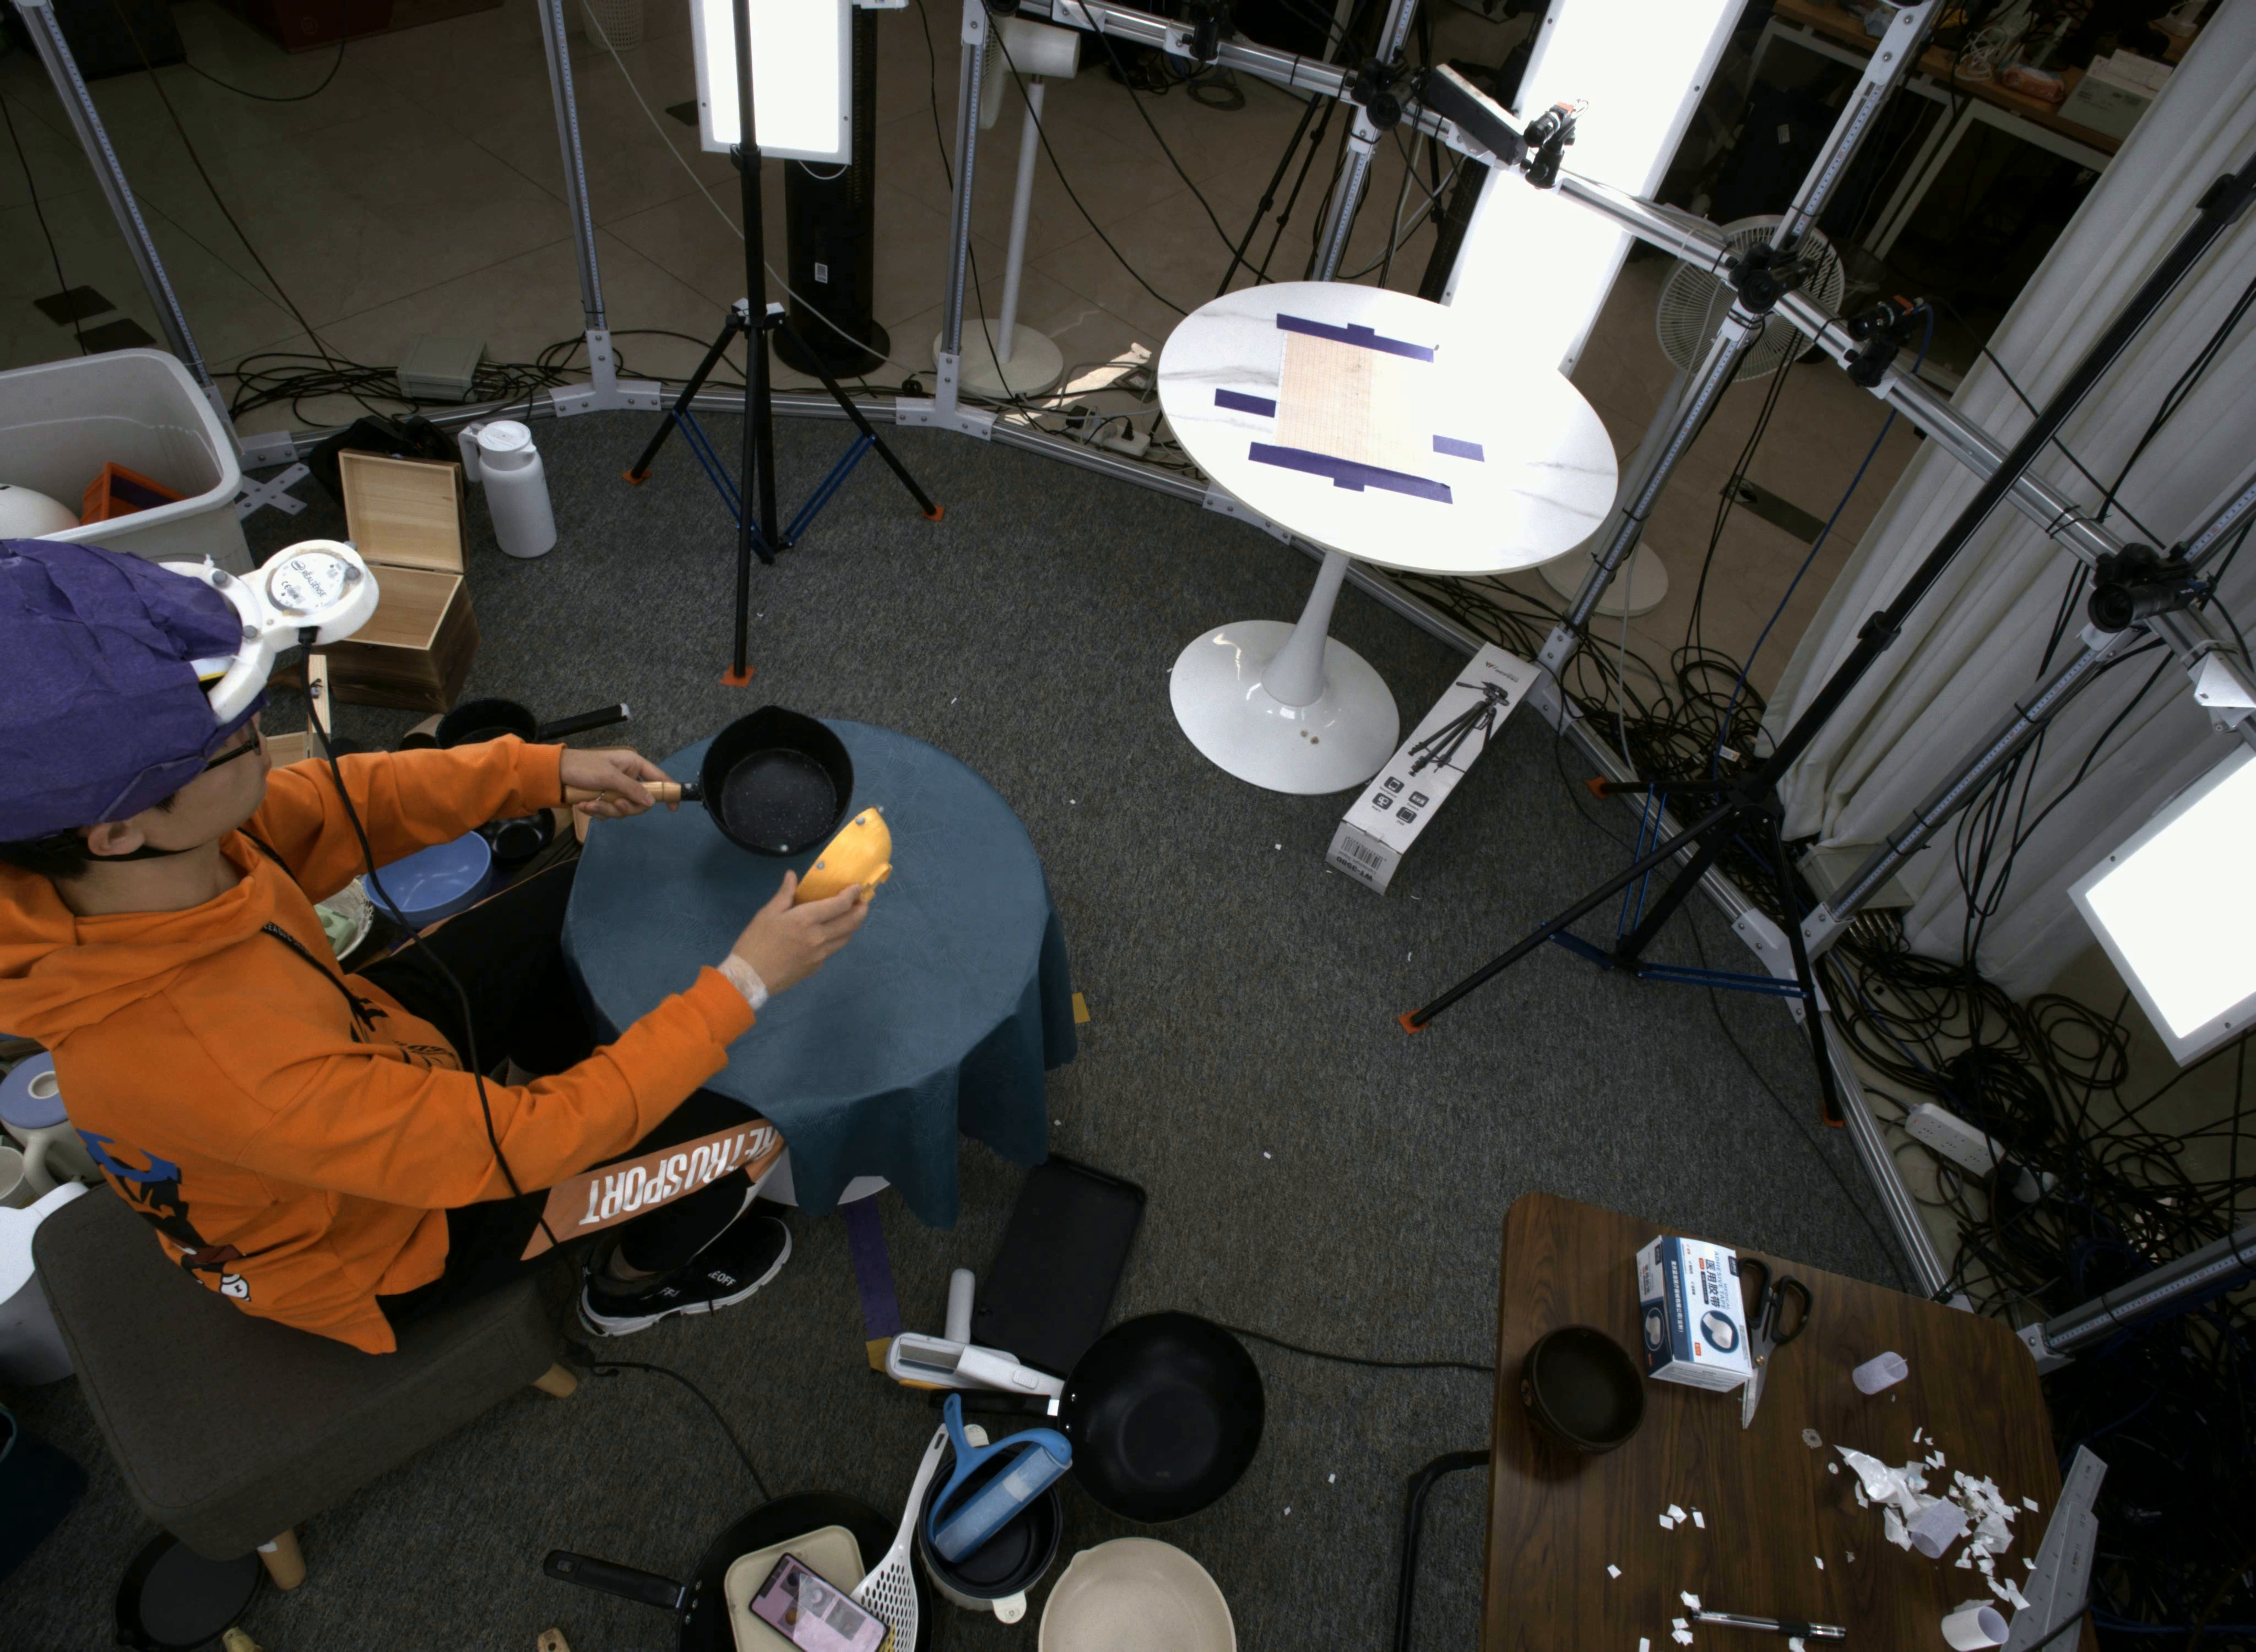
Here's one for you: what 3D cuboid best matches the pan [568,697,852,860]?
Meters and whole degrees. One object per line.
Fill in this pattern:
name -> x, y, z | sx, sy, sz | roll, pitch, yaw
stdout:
pan -> -0.510, -0.041, 1.572 | 0.344, 0.108, 0.206 | -7, 74, -20

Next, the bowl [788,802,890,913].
bowl -> -0.309, 0.046, 1.445 | 0.060, 0.146, 0.145 | 38, 52, 1
